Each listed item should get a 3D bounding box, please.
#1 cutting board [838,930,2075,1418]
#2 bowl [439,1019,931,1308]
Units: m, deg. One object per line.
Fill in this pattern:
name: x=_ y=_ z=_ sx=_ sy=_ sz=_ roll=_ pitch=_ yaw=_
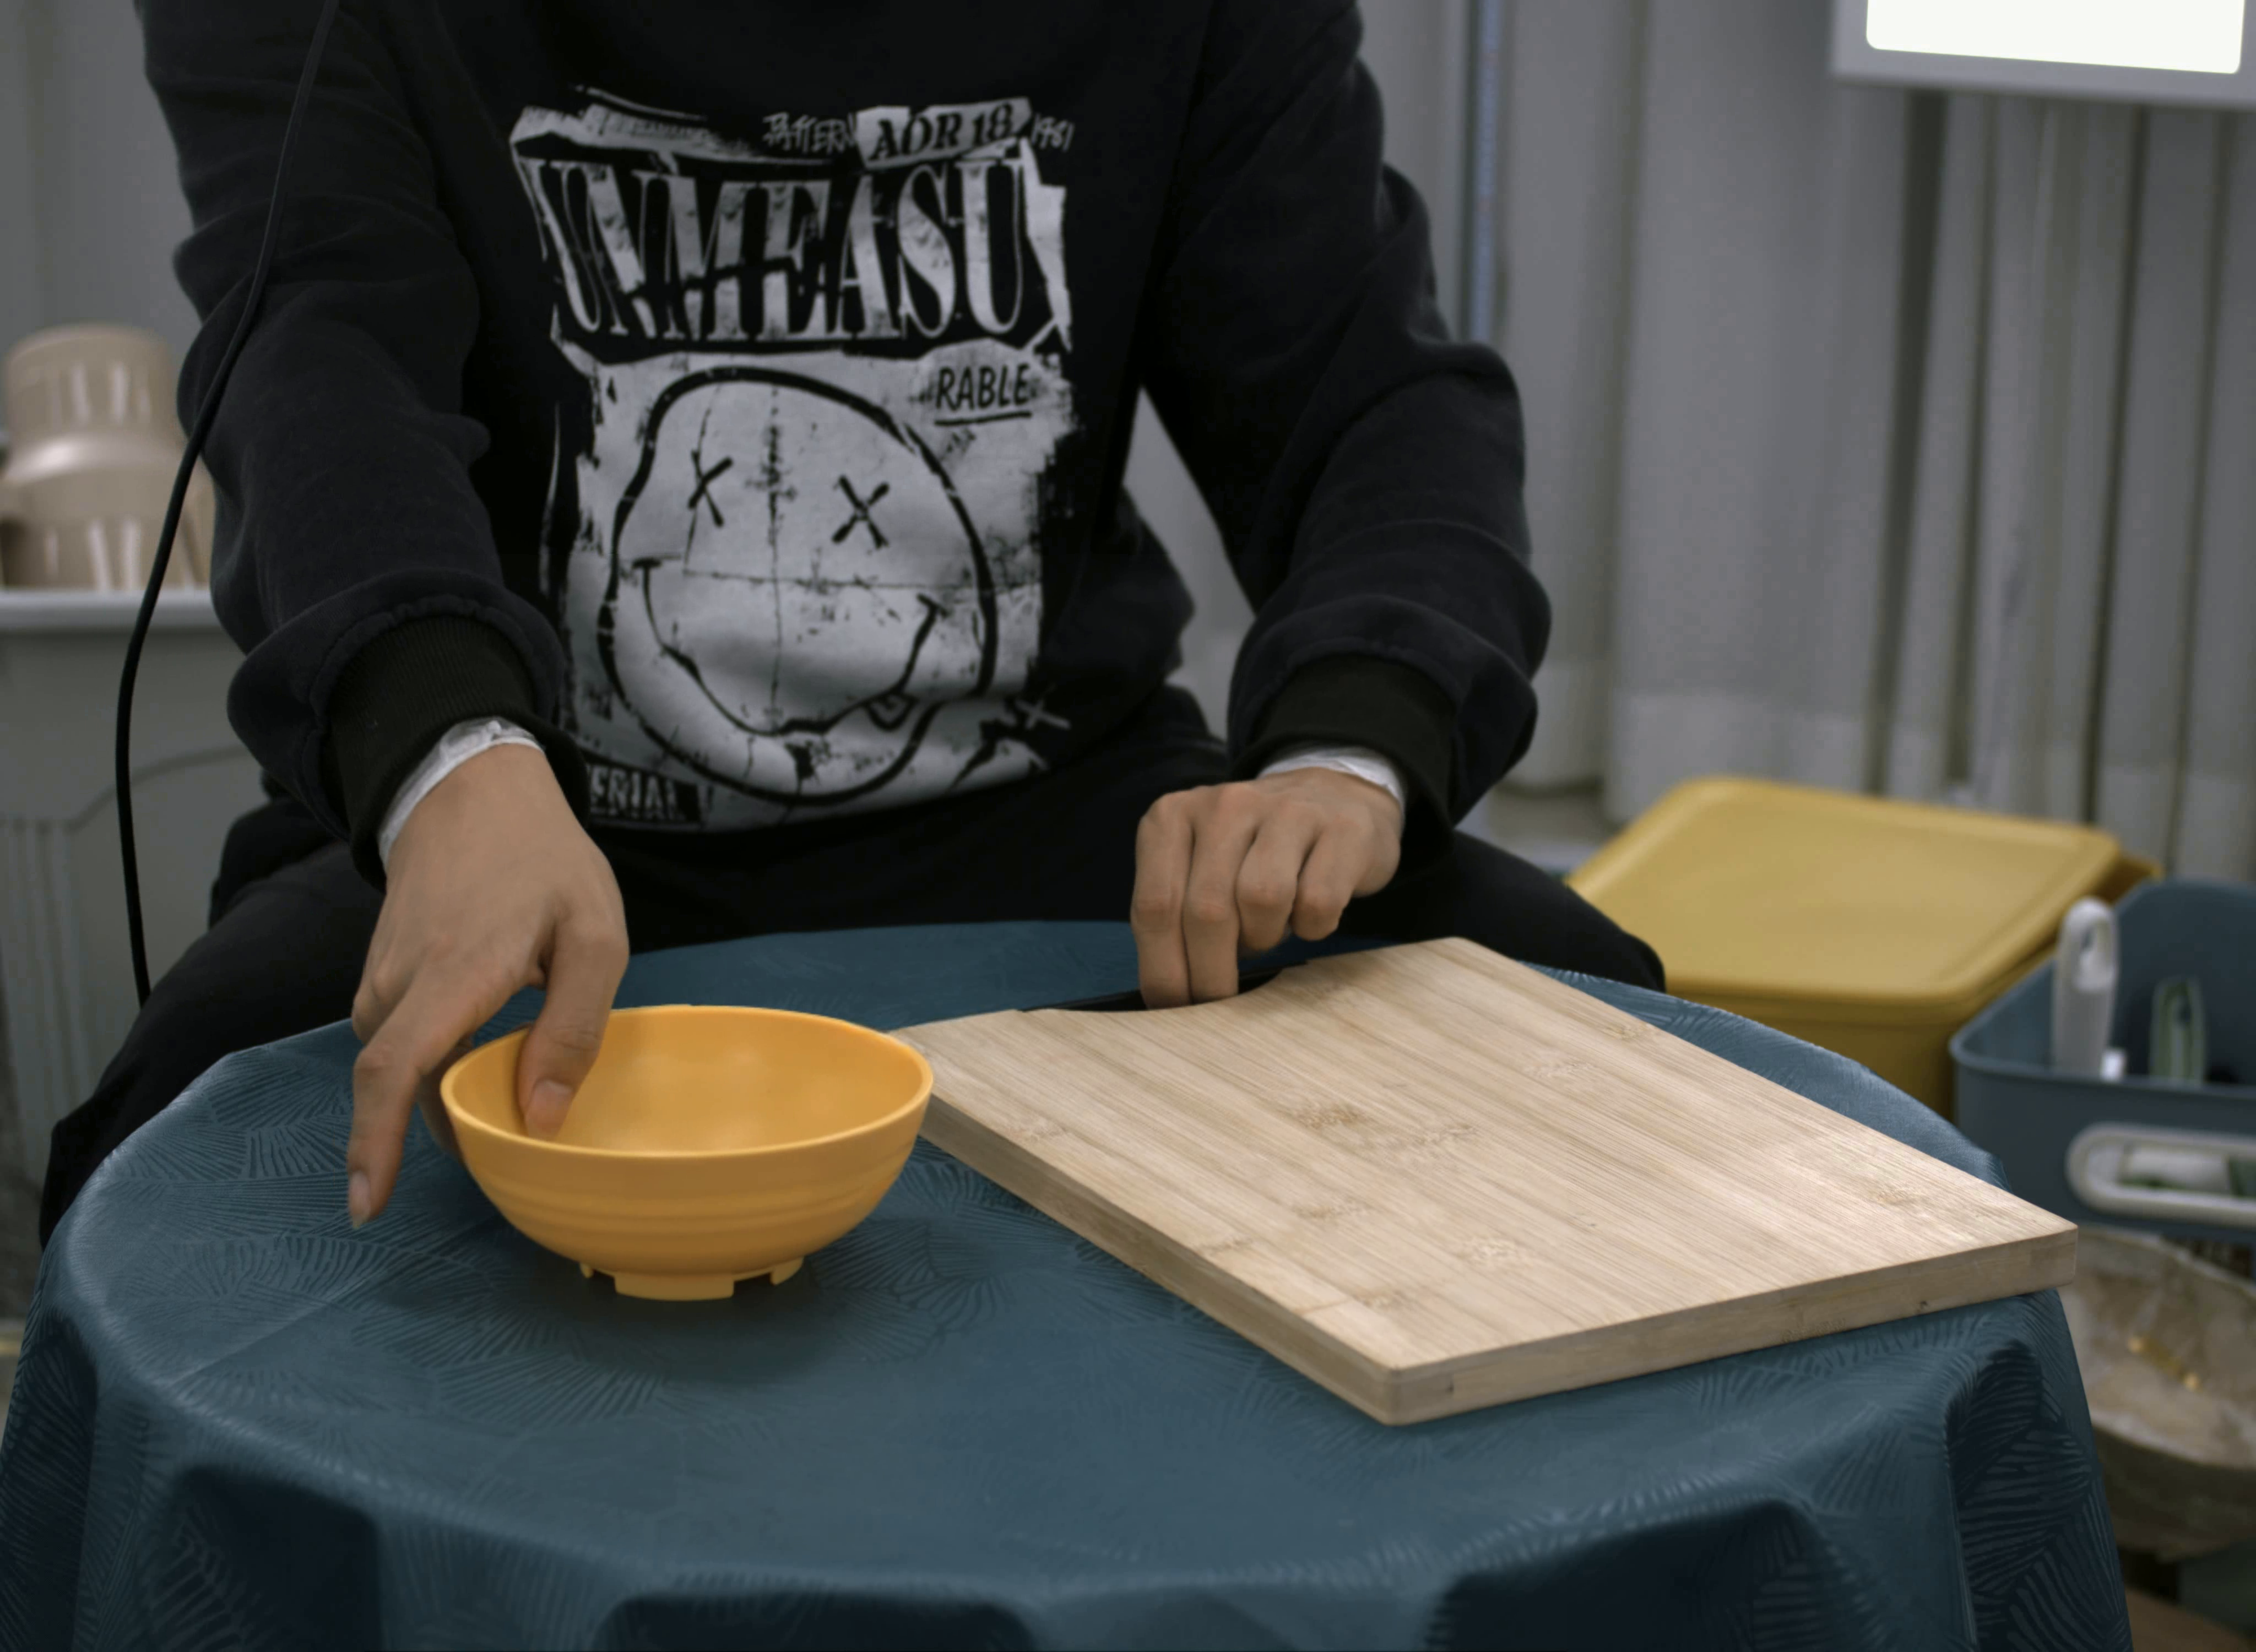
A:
cutting board: x=0.092 y=0.101 z=1.641 sx=0.252 sy=0.024 sz=0.344 roll=-8 pitch=18 yaw=-30
bowl: x=-0.131 y=0.104 z=1.551 sx=0.145 sy=0.060 sz=0.144 roll=2 pitch=13 yaw=0
